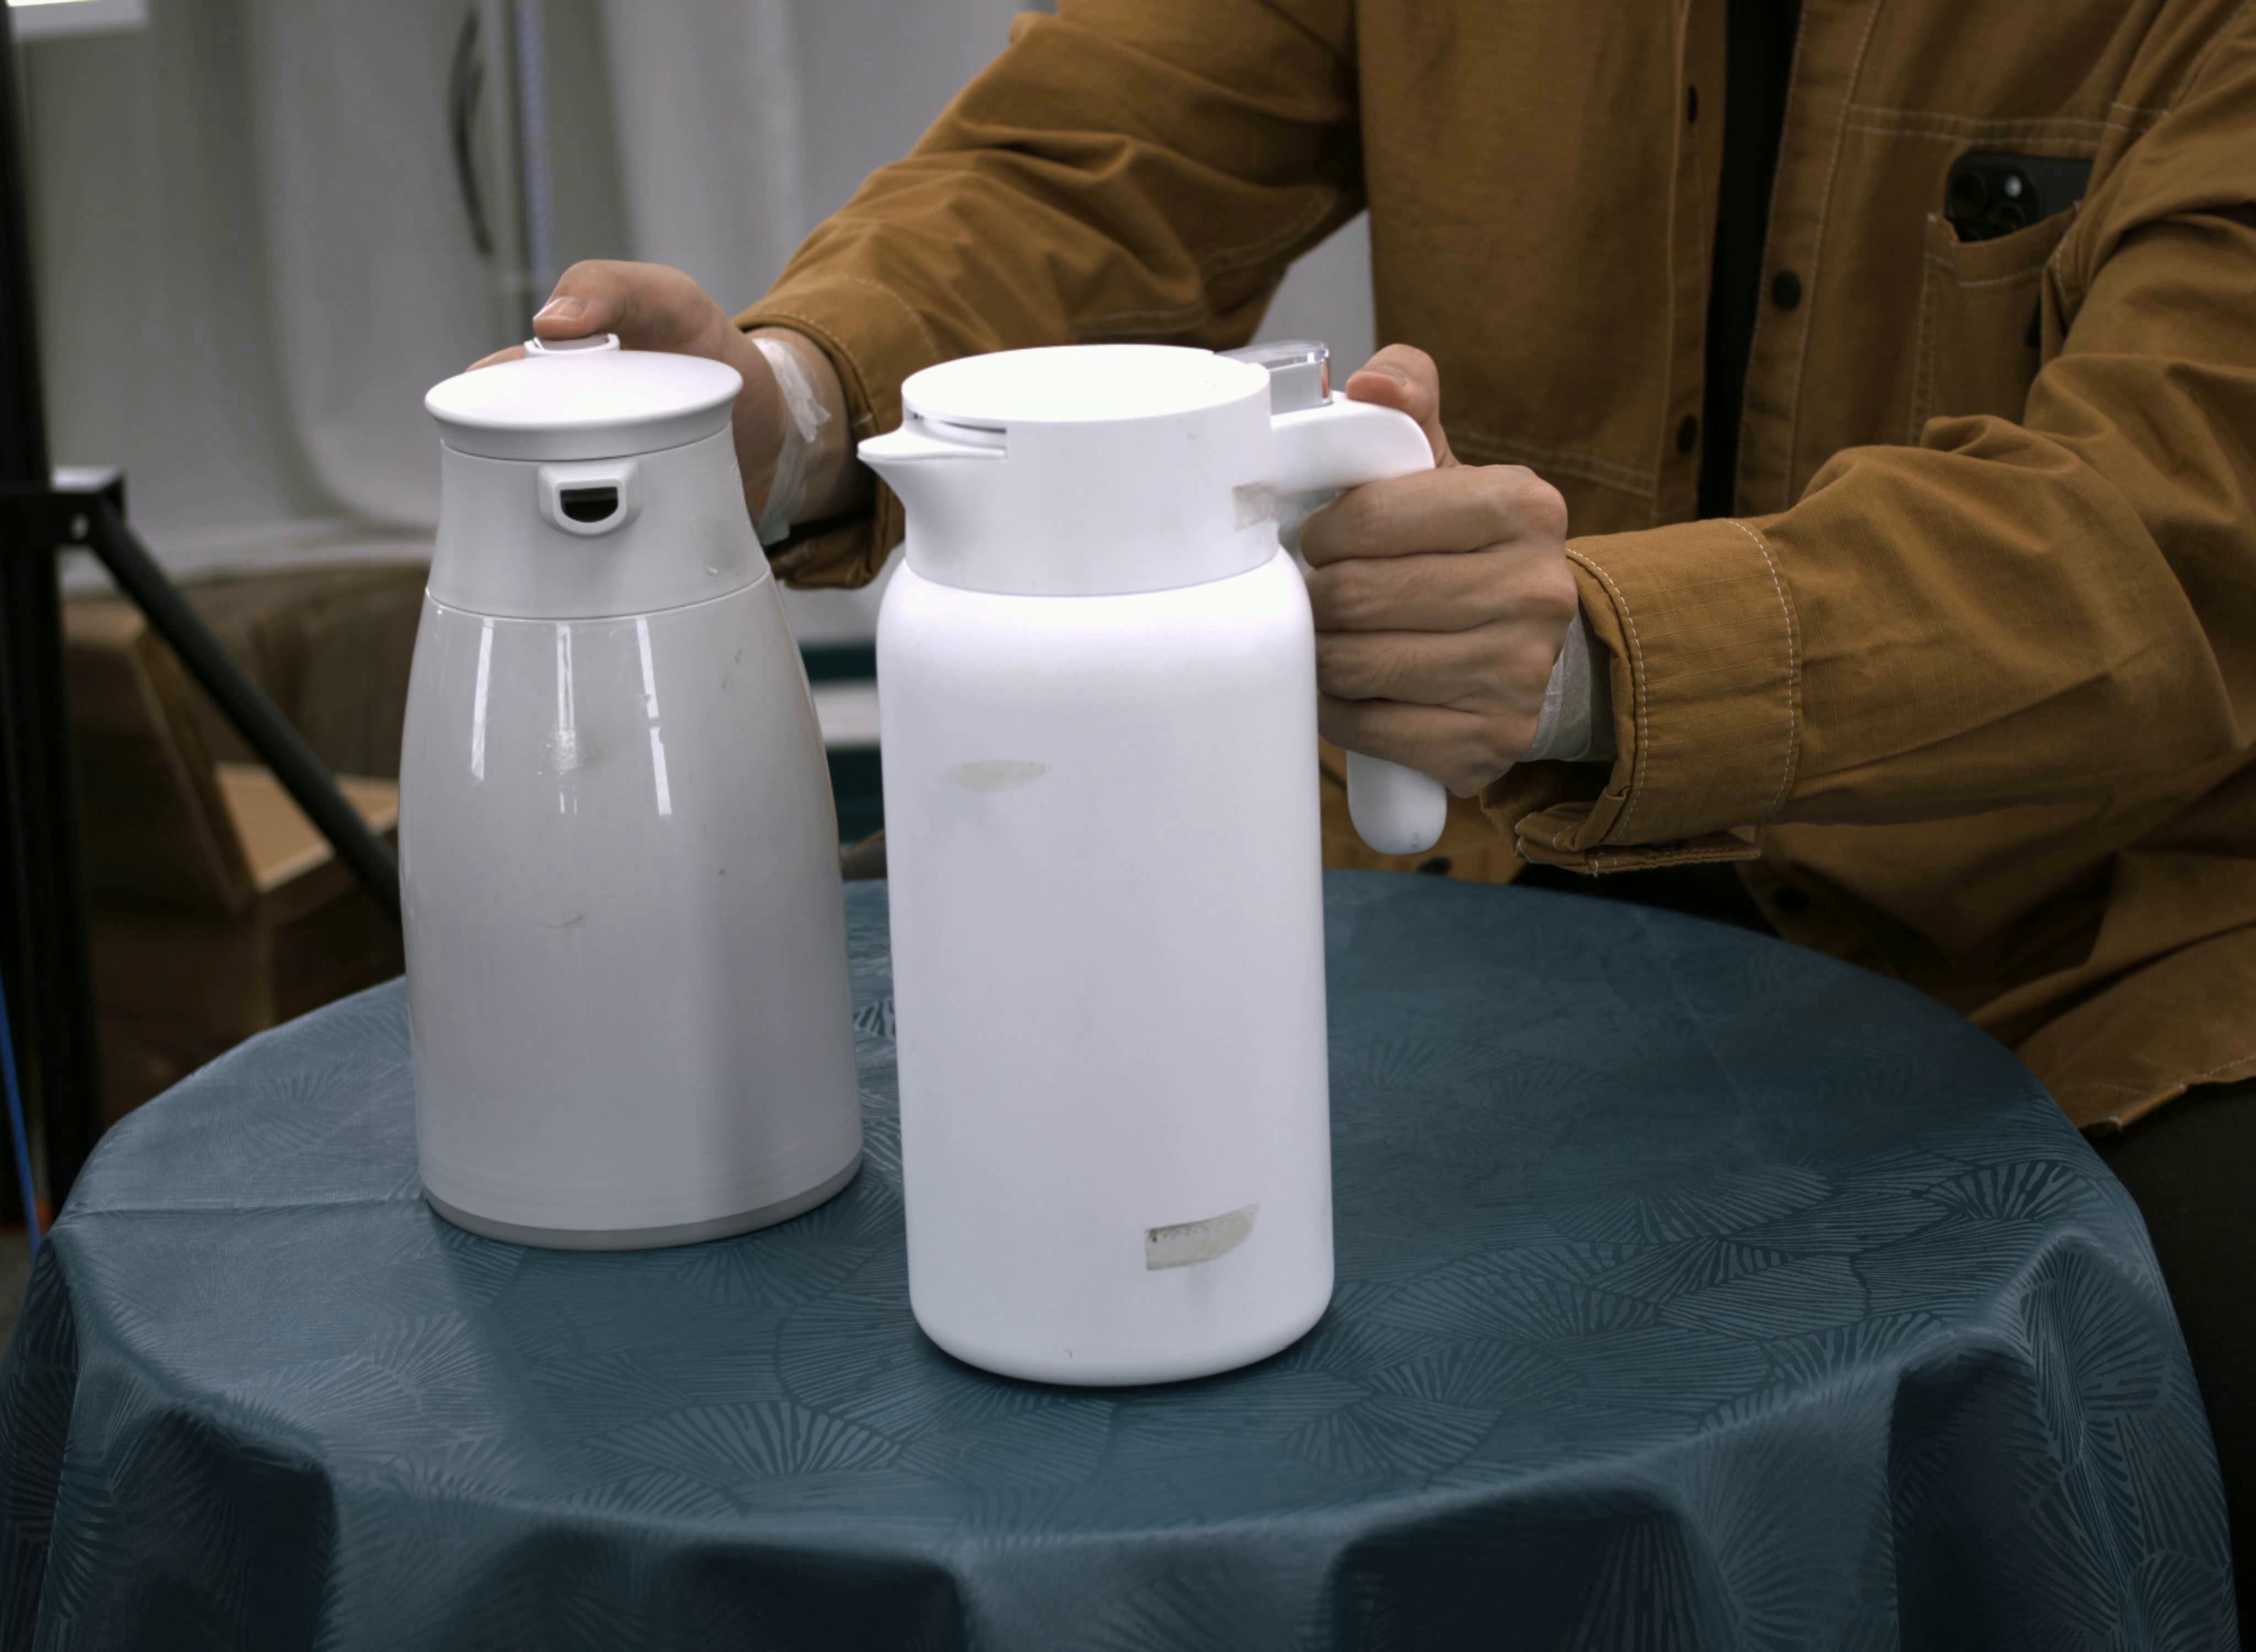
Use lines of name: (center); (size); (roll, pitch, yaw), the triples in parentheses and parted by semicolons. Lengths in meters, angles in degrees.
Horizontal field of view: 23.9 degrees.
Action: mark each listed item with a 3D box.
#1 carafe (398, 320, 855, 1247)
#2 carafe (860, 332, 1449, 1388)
carafe: (-0.152, -0.021, 1.575); (0.131, 0.248, 0.169); (-3, 15, -4)
carafe: (0.009, 0.005, 1.429); (0.169, 0.269, 0.126); (-11, 15, -30)
